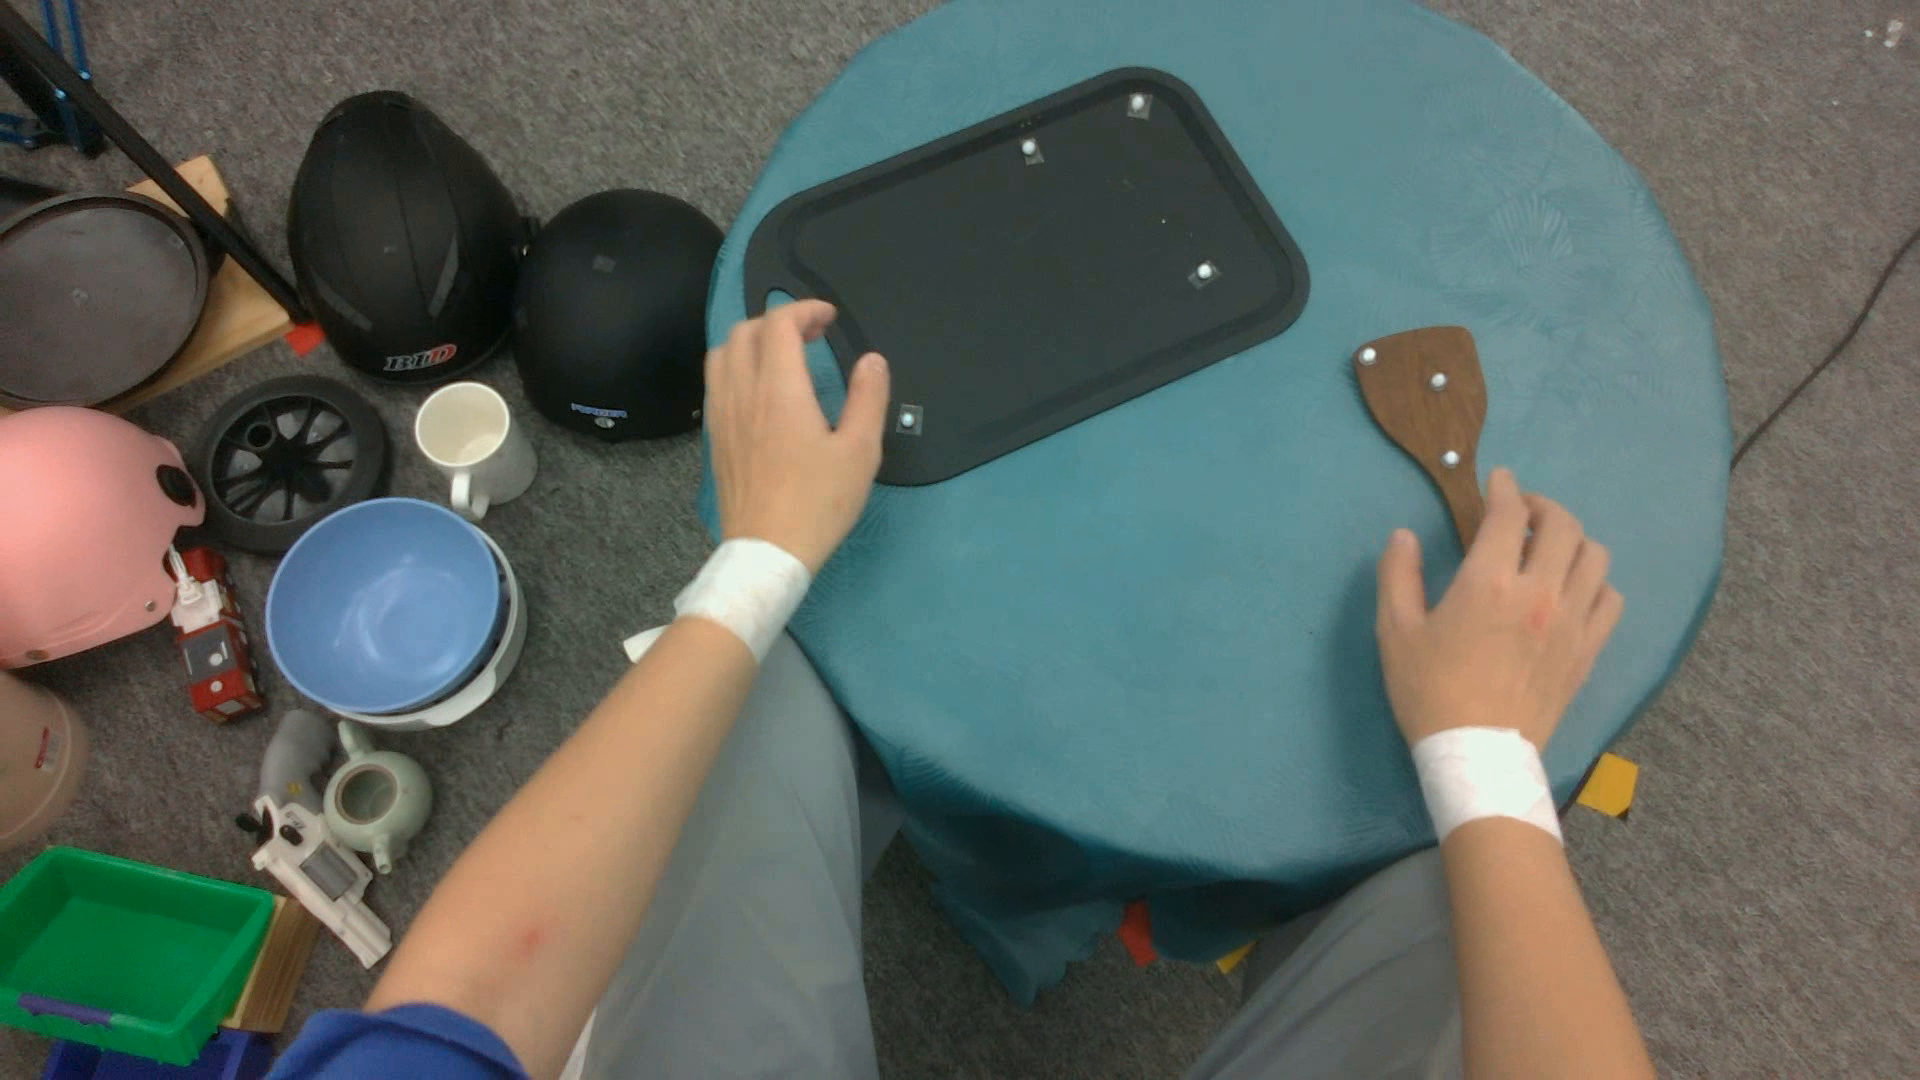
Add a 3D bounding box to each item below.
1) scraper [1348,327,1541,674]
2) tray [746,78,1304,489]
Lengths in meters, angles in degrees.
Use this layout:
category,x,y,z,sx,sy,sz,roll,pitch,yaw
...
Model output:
category,x,y,z,sx,sy,sz,roll,pitch,yaw
scraper,0.284,-0.025,0.786,0.076,0.011,0.212,-11,70,-4
tray,0.034,-0.160,0.835,0.326,0.010,0.211,-24,71,-10
